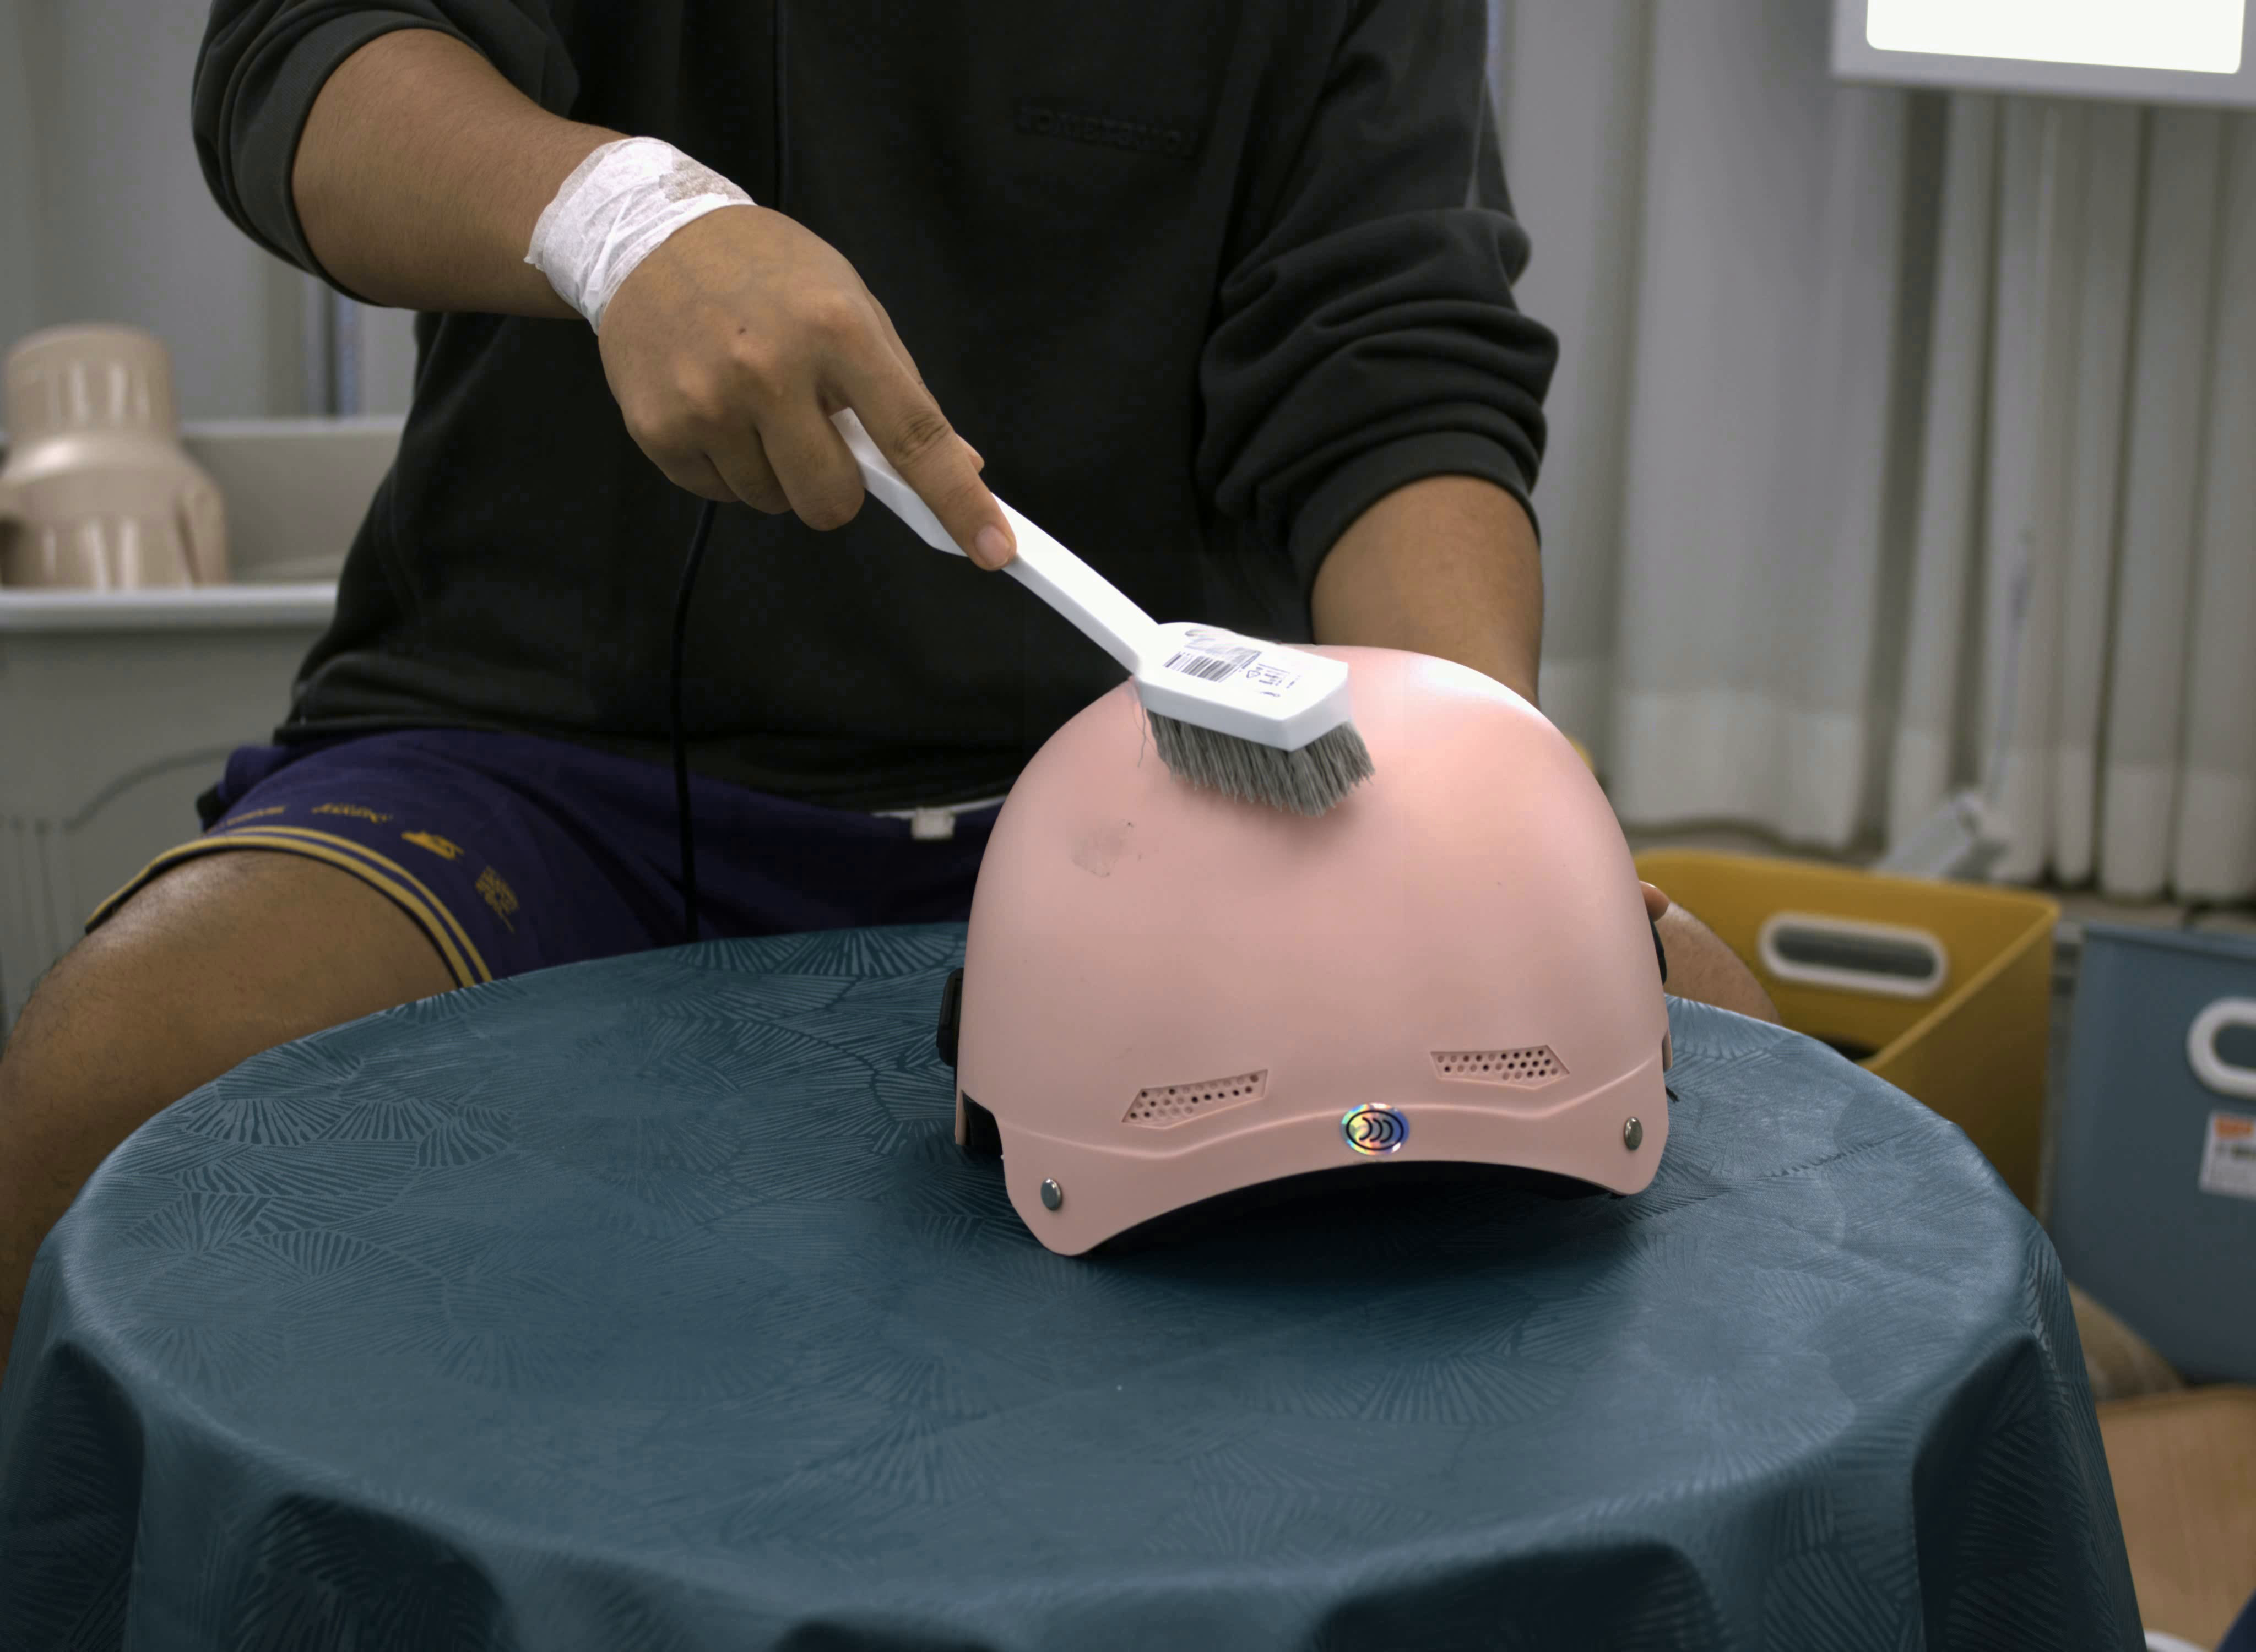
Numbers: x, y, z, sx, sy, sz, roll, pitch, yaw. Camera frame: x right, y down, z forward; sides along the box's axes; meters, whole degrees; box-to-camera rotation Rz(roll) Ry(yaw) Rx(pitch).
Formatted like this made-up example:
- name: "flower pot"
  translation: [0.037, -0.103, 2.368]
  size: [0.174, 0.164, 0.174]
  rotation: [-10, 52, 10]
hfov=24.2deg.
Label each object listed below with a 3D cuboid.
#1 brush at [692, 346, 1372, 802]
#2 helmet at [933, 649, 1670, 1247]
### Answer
- name: "brush"
  translation: [-0.033, -0.073, 1.555]
  size: [0.241, 0.051, 0.034]
  rotation: [29, 48, 22]
- name: "helmet"
  translation: [0.052, 0.023, 1.638]
  size: [0.233, 0.160, 0.264]
  rotation: [-6, 12, -4]
